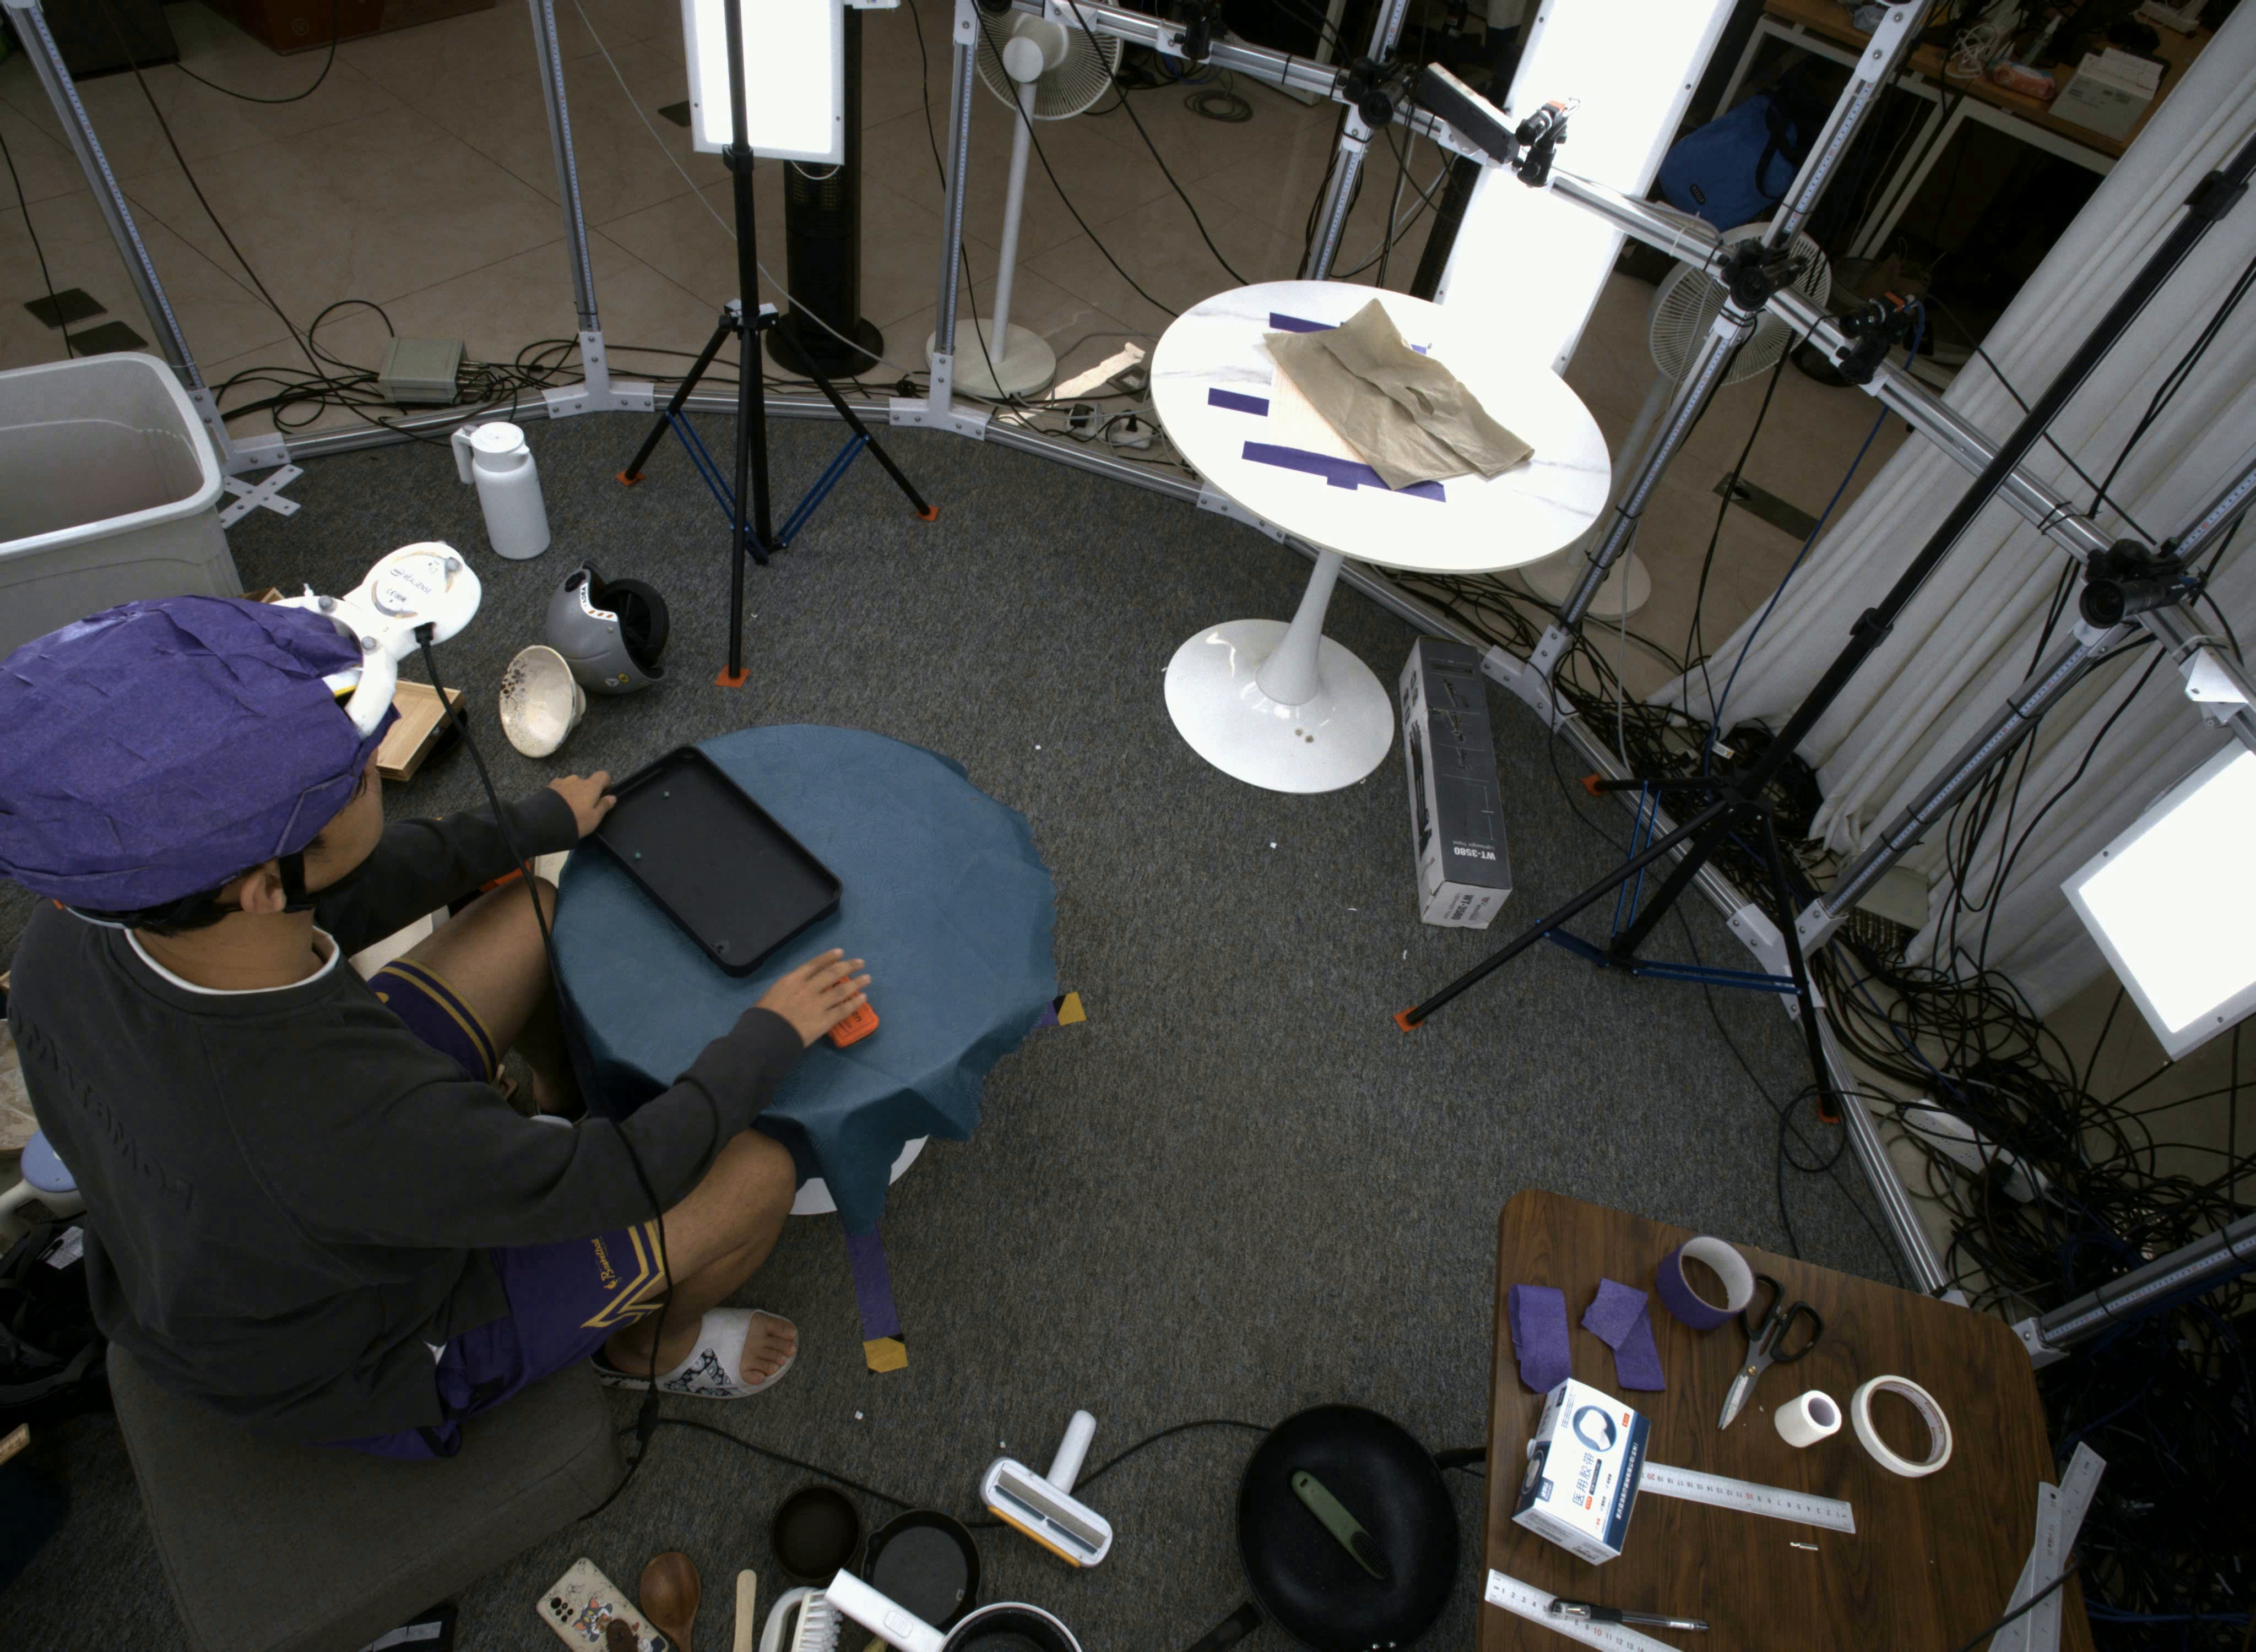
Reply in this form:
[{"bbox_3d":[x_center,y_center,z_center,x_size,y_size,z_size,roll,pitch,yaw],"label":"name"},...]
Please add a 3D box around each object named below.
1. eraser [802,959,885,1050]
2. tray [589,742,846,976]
[{"bbox_3d":[-0.345,0.212,1.572,0.059,0.023,0.105,-32,68,-23],"label":"eraser"},{"bbox_3d":[-0.527,0.035,1.646,0.312,0.037,0.184,40,55,12],"label":"tray"}]
